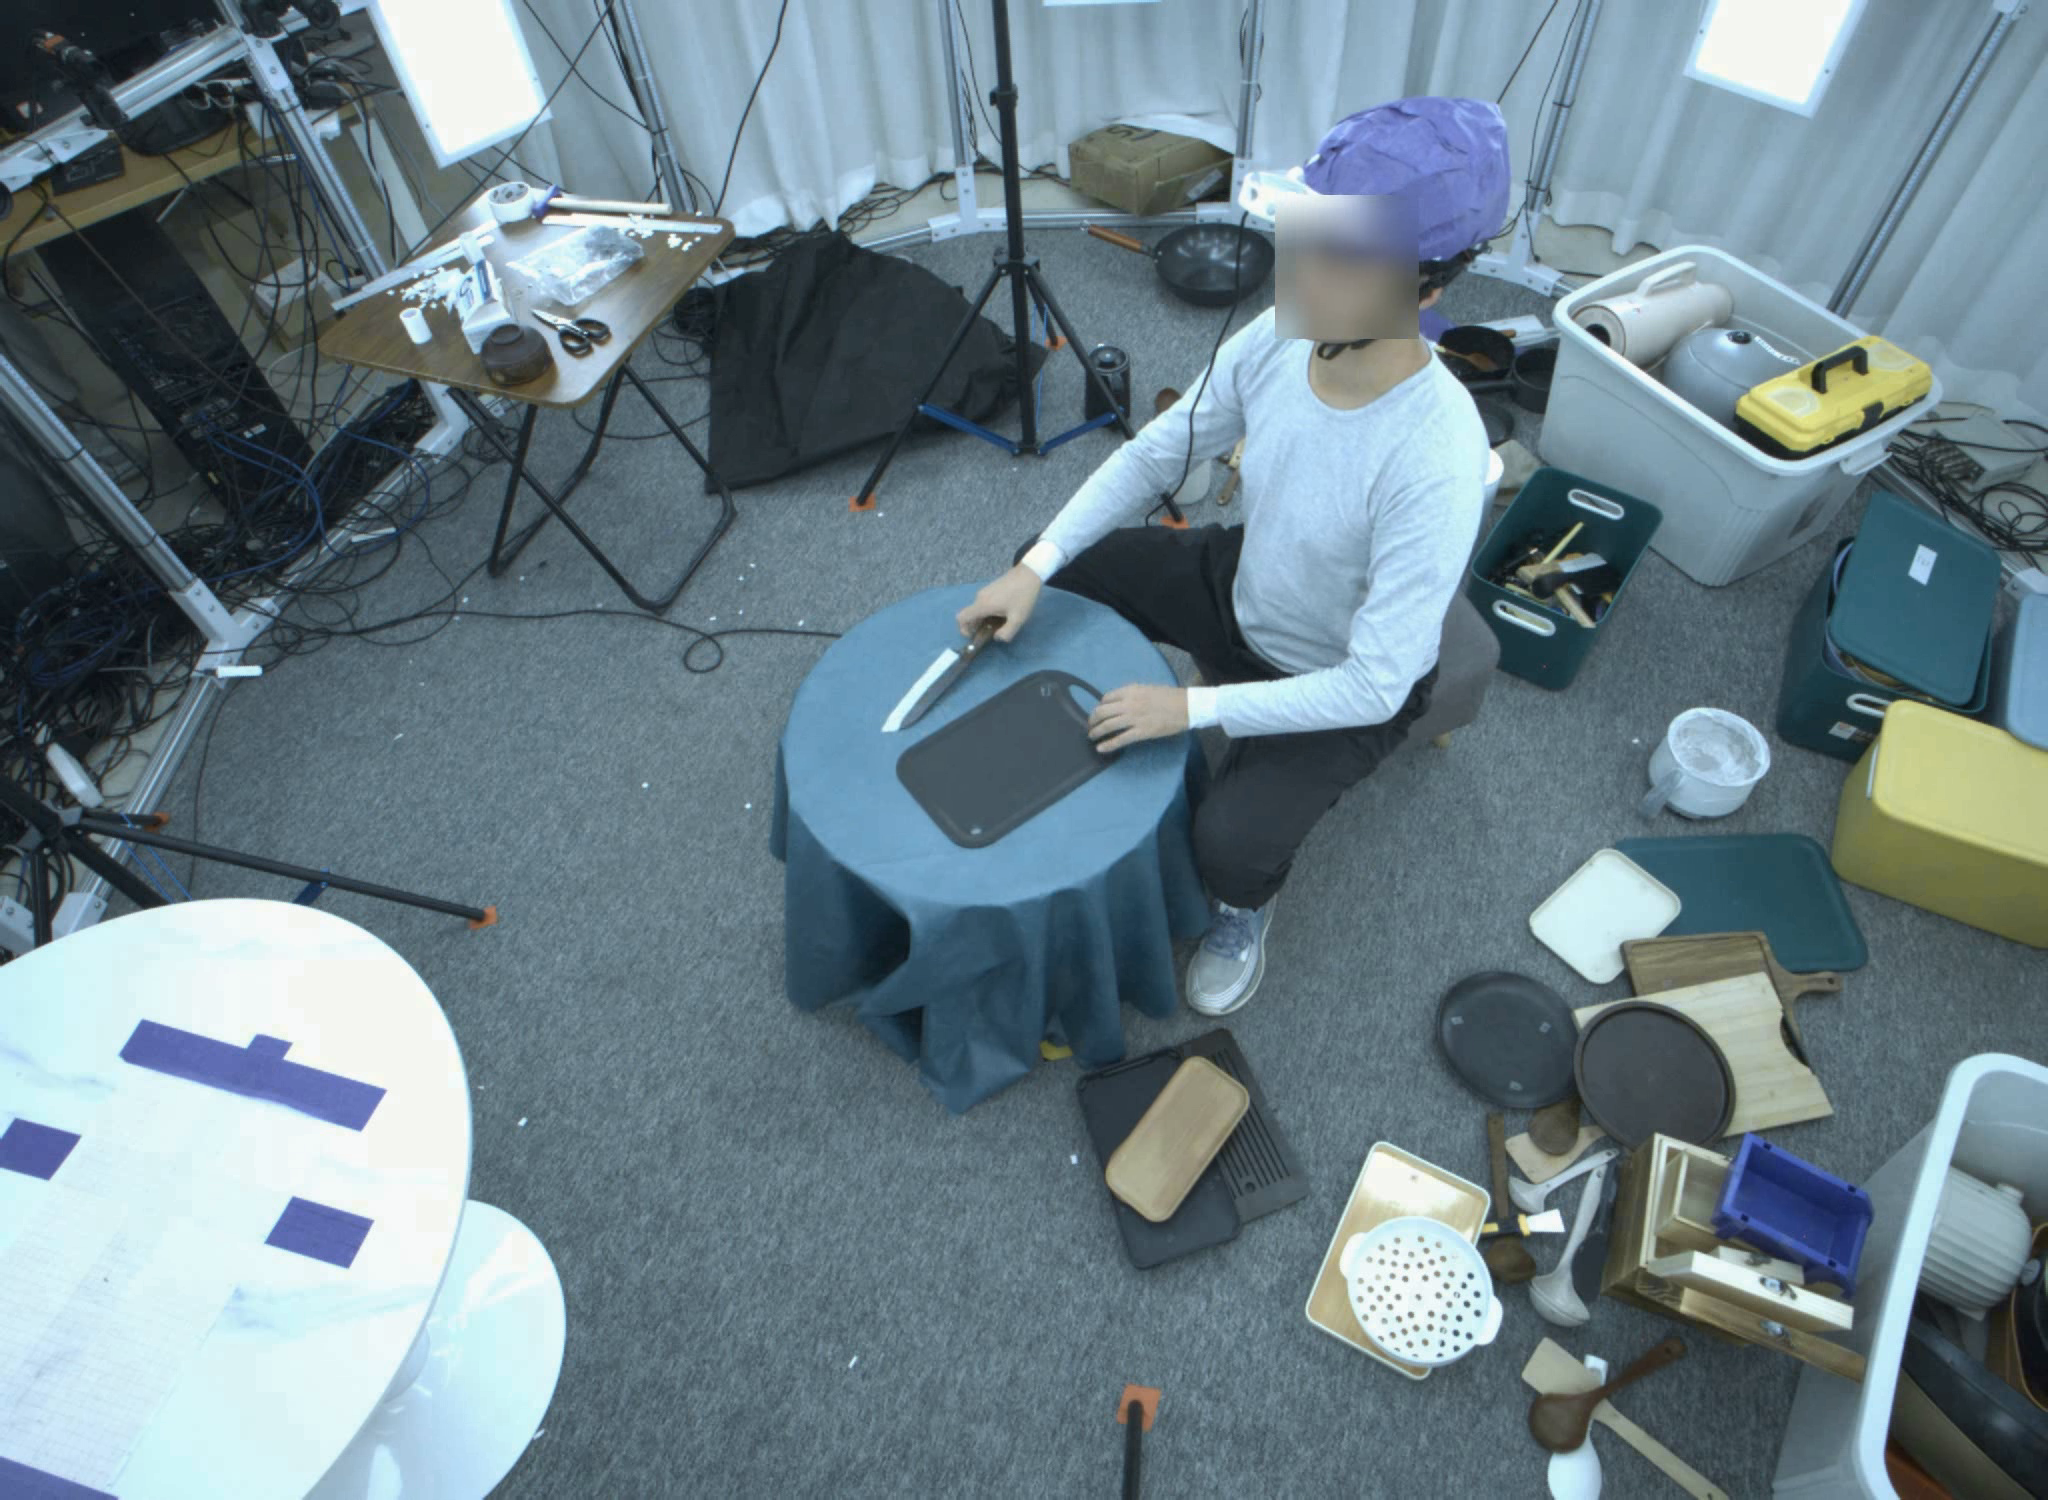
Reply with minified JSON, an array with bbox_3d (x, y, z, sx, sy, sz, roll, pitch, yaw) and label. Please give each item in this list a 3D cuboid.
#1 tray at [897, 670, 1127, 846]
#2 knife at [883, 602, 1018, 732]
[{"bbox_3d":[-0.011,0.000,1.792,0.328,0.010,0.207,-31,60,-20],"label":"tray"},{"bbox_3d":[-0.111,-0.126,1.862,0.049,0.020,0.290,37,71,22],"label":"knife"}]
